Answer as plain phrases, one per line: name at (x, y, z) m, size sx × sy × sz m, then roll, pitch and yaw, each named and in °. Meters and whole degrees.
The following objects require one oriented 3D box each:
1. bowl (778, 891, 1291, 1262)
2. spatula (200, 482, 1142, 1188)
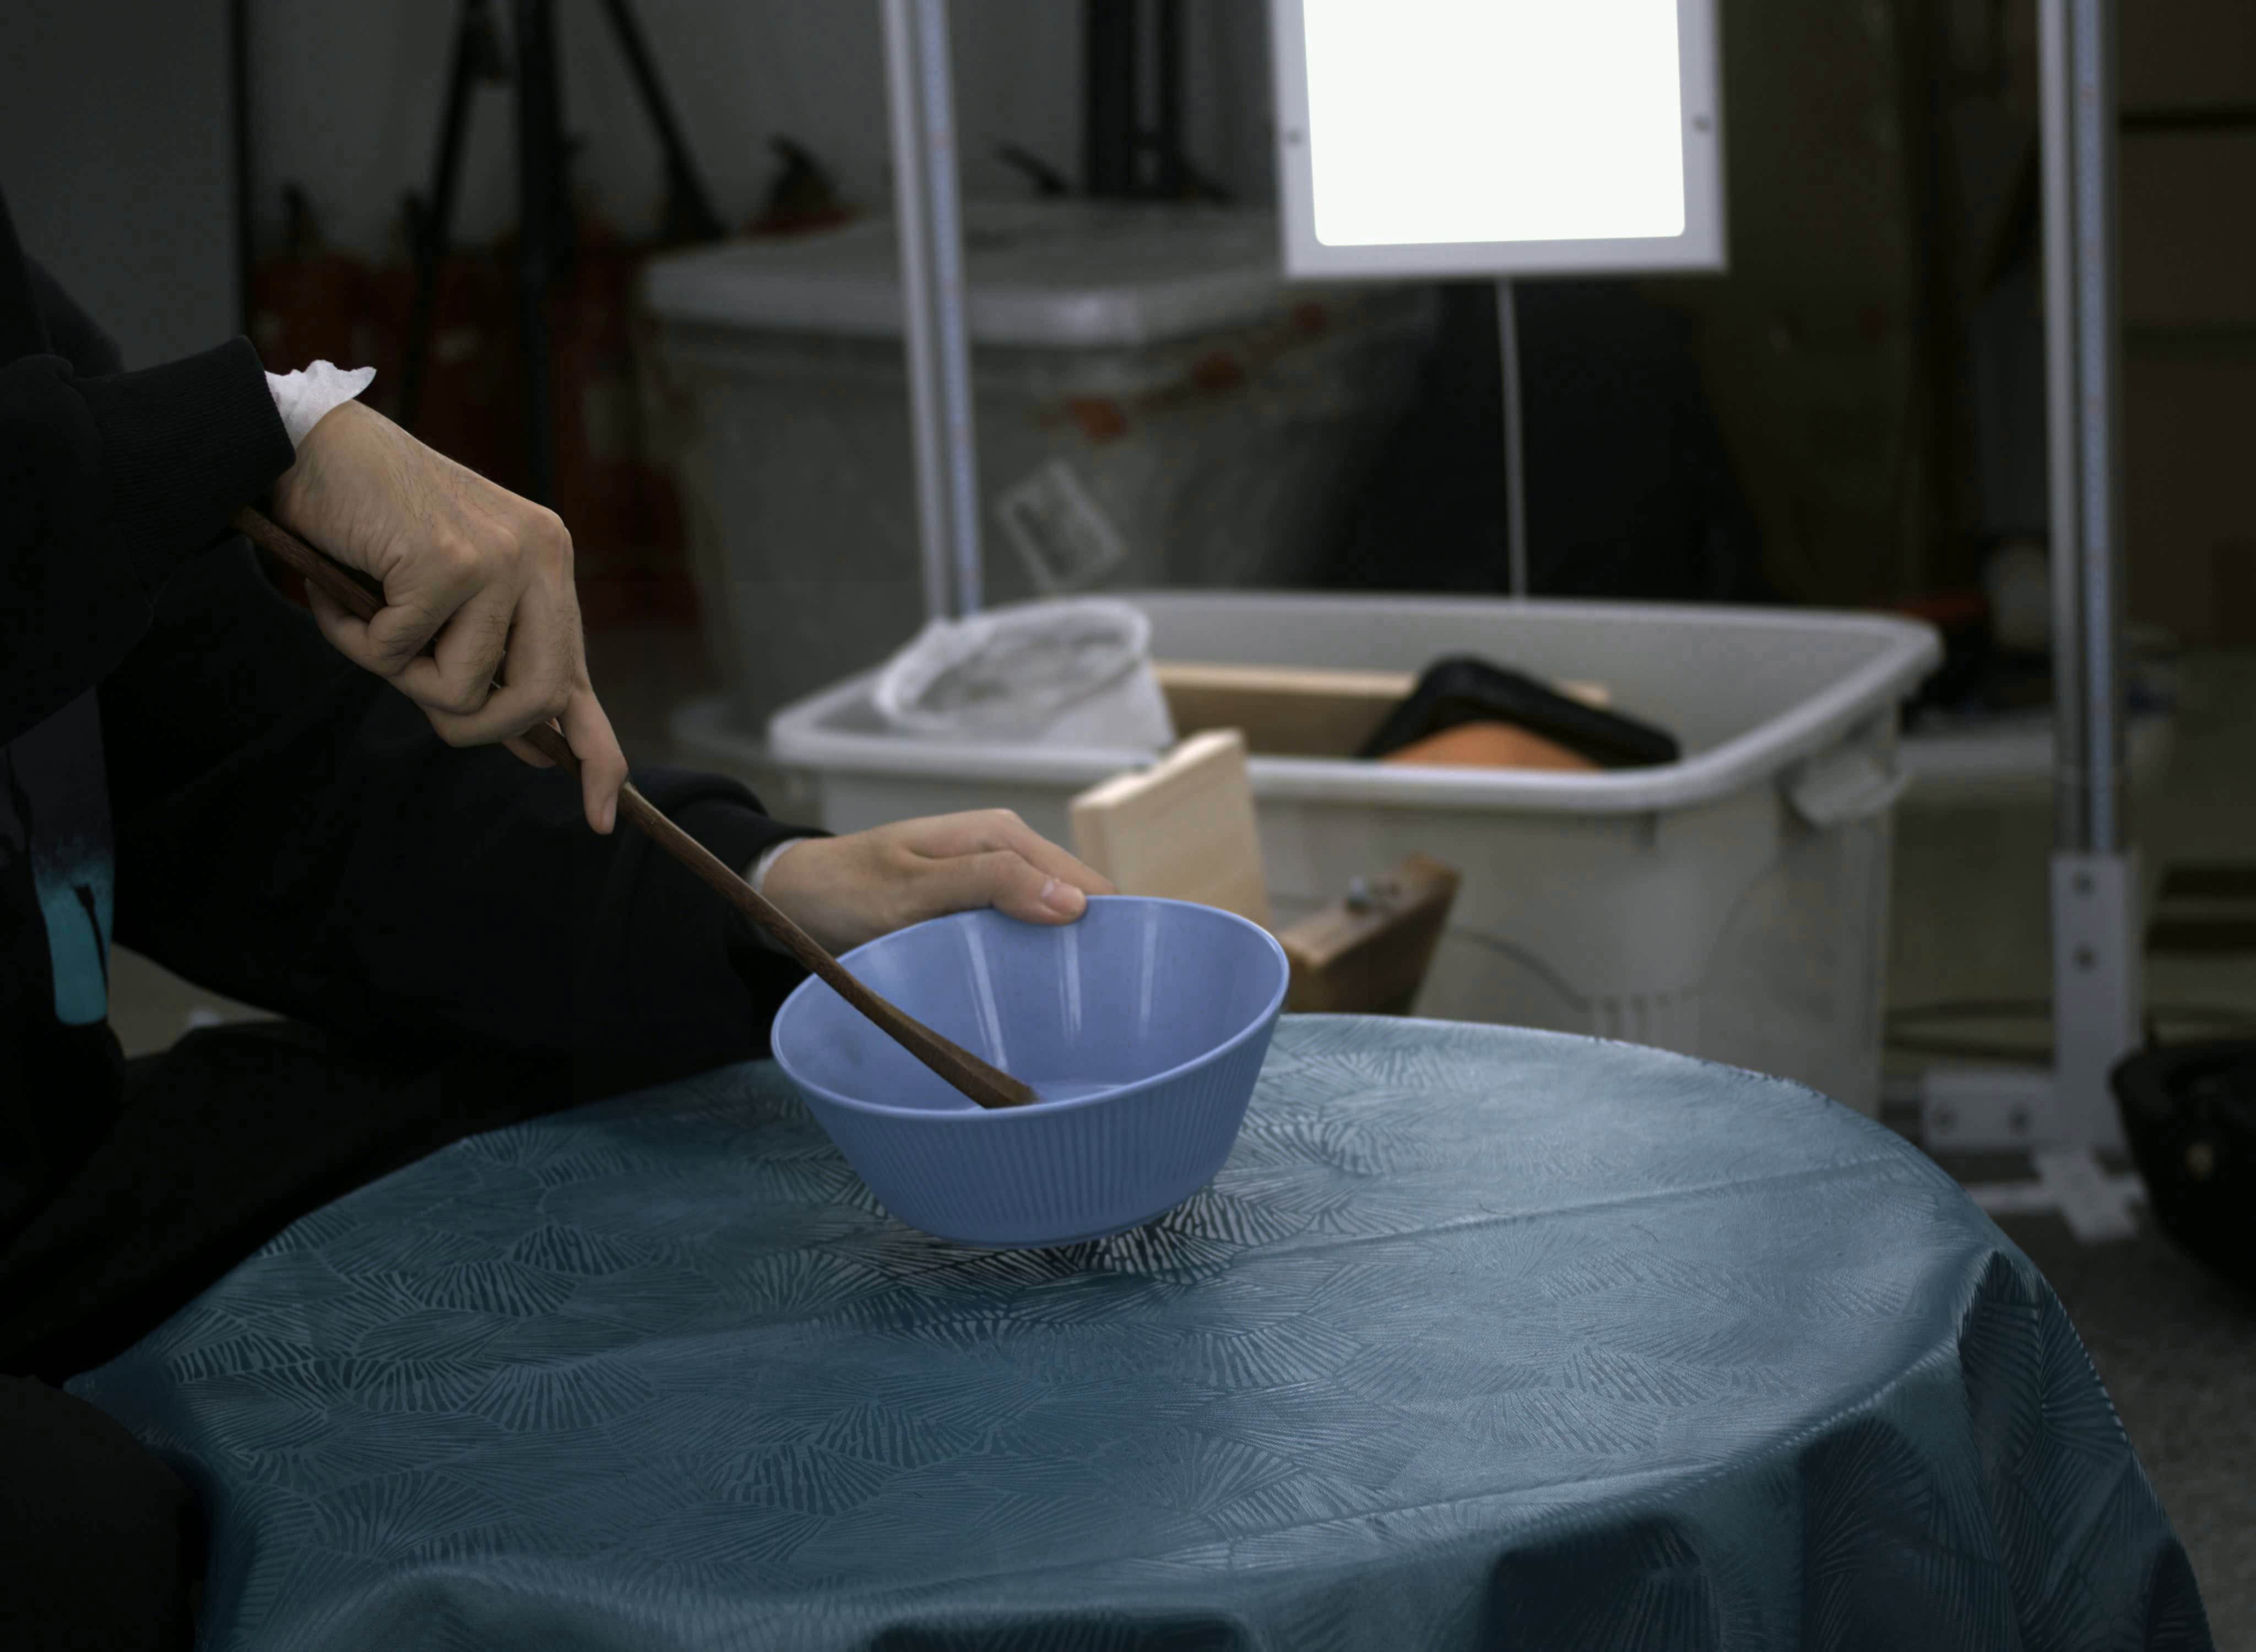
bowl at (-0.026, 0.090, 1.852) m, size 0.176 × 0.070 × 0.175 m, roll -10°, pitch 24°, yaw 3°
spatula at (-0.144, 0.005, 1.782) m, size 0.016 × 0.382 × 0.097 m, roll -51°, pitch 18°, yaw -1°
